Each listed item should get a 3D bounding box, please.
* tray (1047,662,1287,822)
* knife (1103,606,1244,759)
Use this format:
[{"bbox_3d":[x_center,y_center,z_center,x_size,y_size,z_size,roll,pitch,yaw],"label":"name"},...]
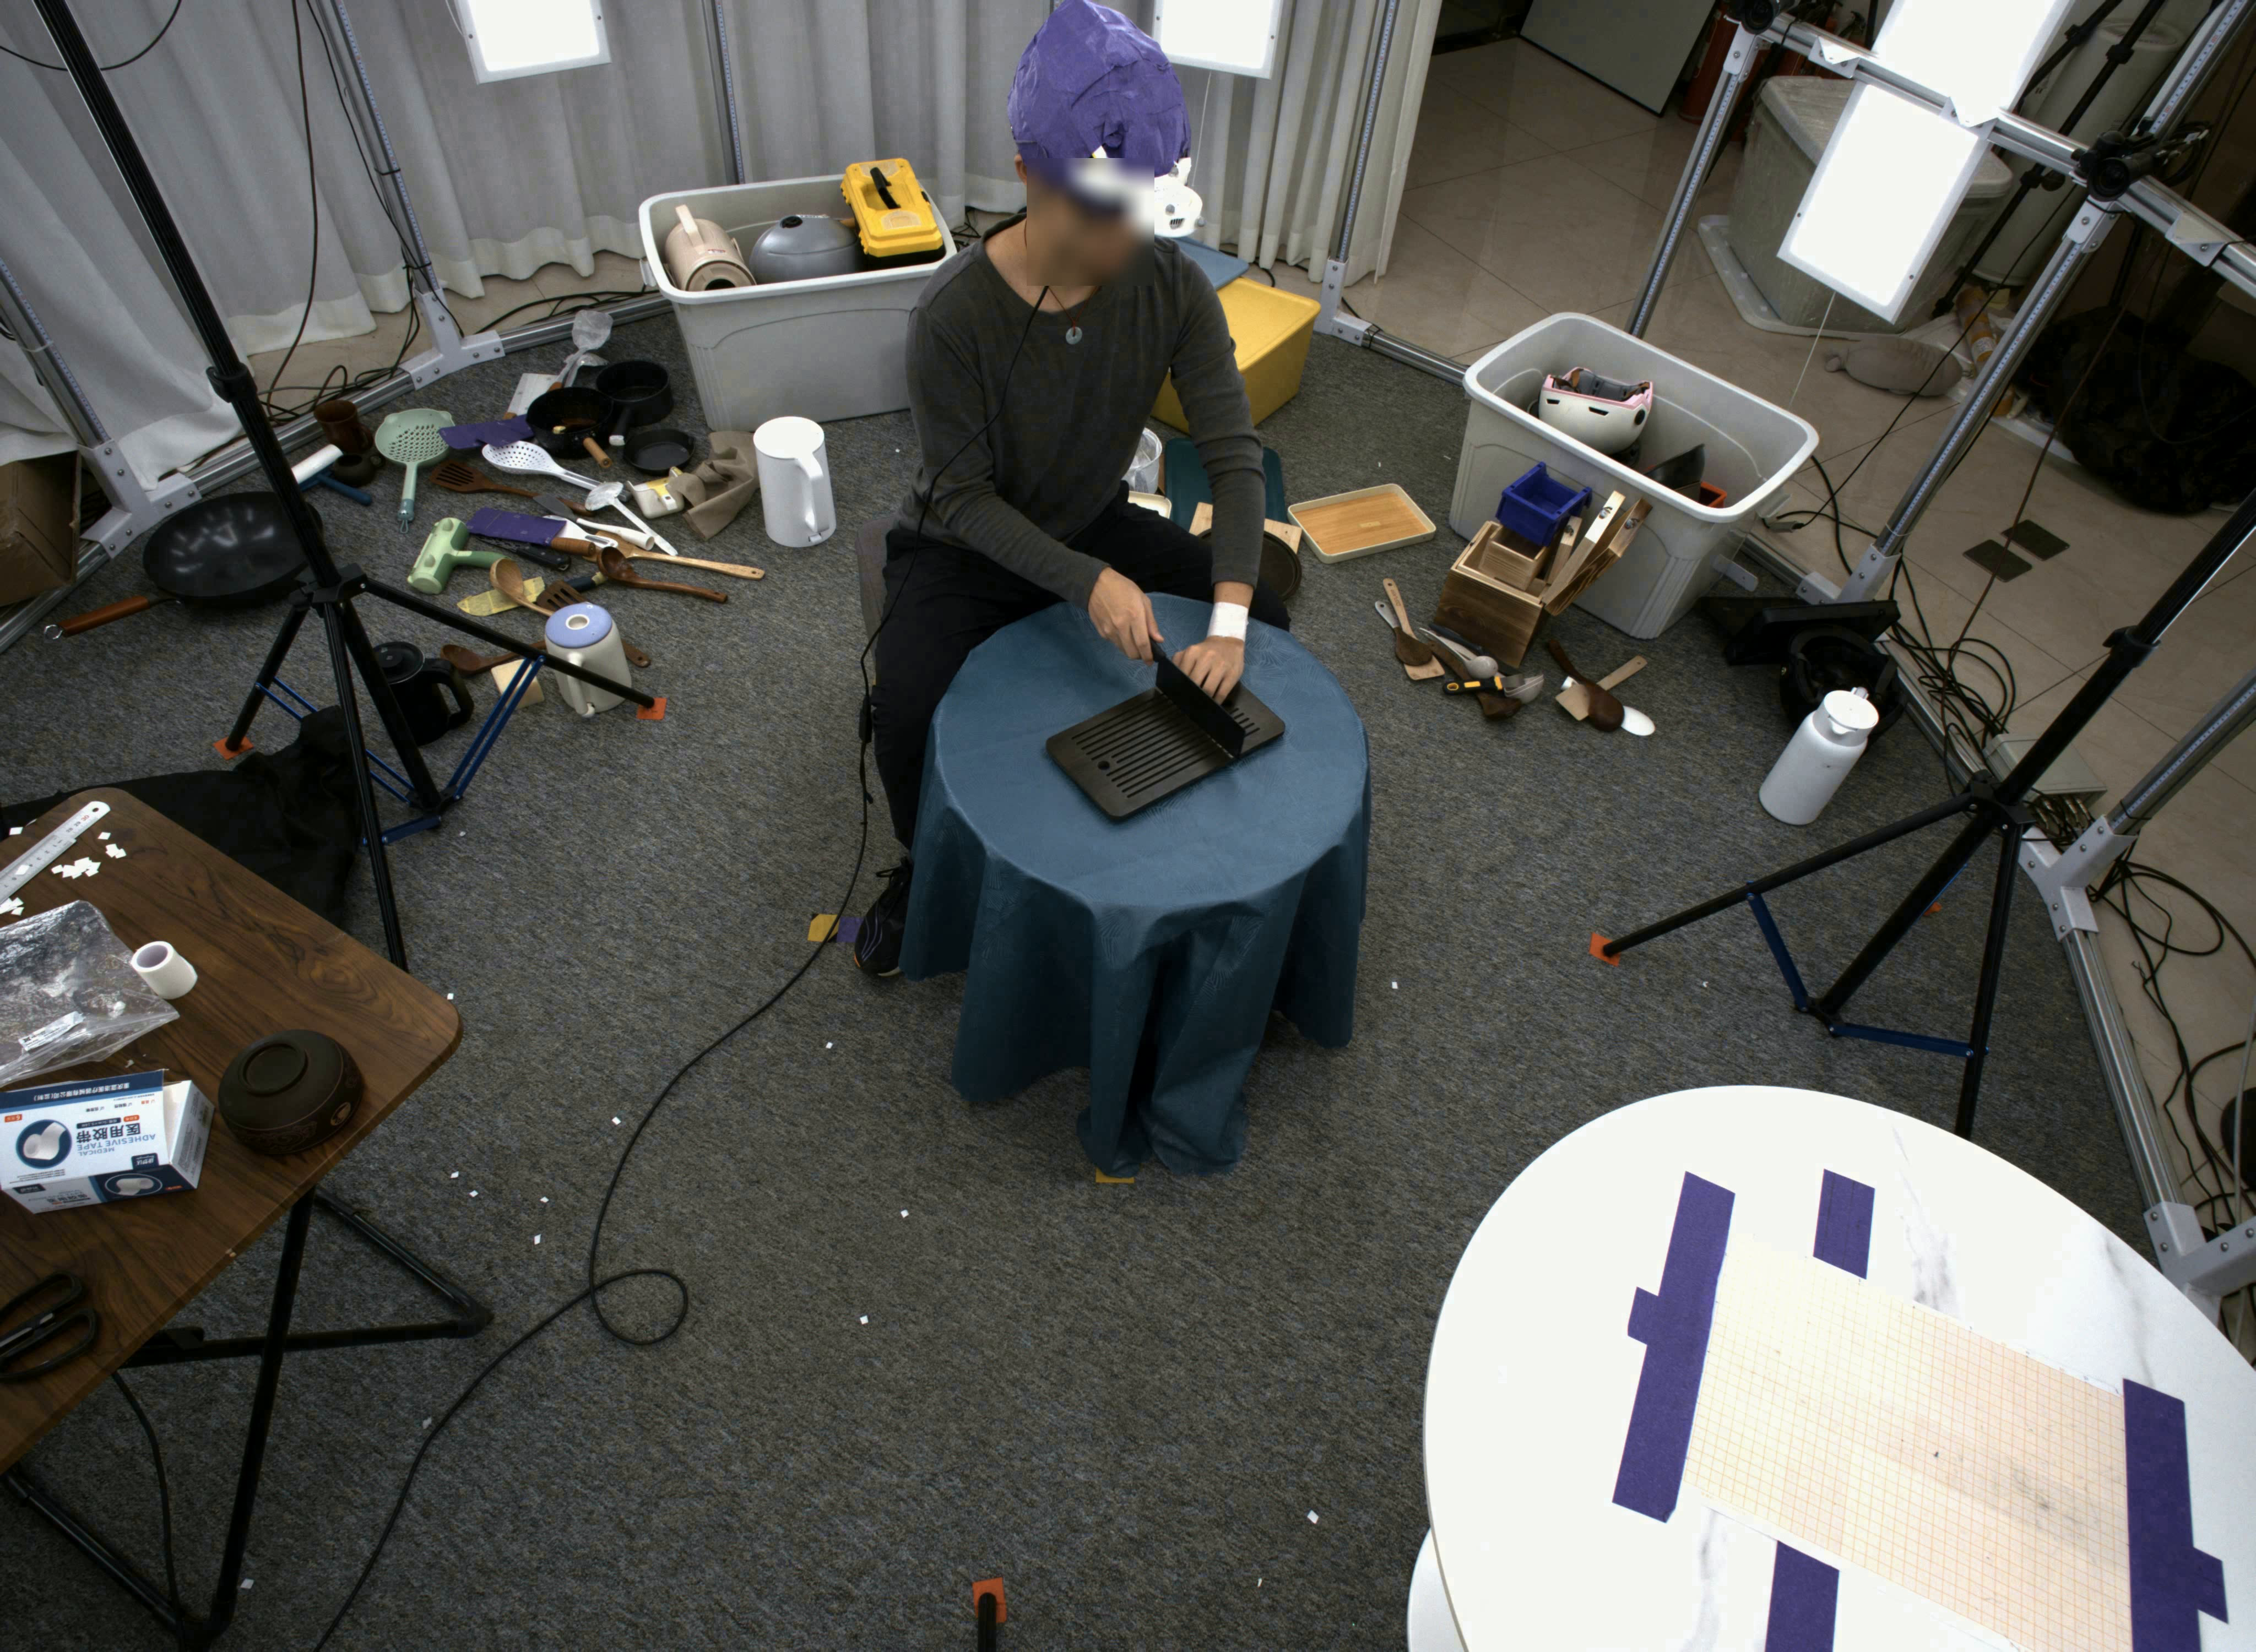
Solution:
[{"bbox_3d":[0.055,-0.119,1.762,0.307,0.018,0.173,-27,55,-25],"label":"tray"},{"bbox_3d":[0.061,-0.205,1.777,0.021,0.079,0.307,-26,60,-28],"label":"knife"}]
